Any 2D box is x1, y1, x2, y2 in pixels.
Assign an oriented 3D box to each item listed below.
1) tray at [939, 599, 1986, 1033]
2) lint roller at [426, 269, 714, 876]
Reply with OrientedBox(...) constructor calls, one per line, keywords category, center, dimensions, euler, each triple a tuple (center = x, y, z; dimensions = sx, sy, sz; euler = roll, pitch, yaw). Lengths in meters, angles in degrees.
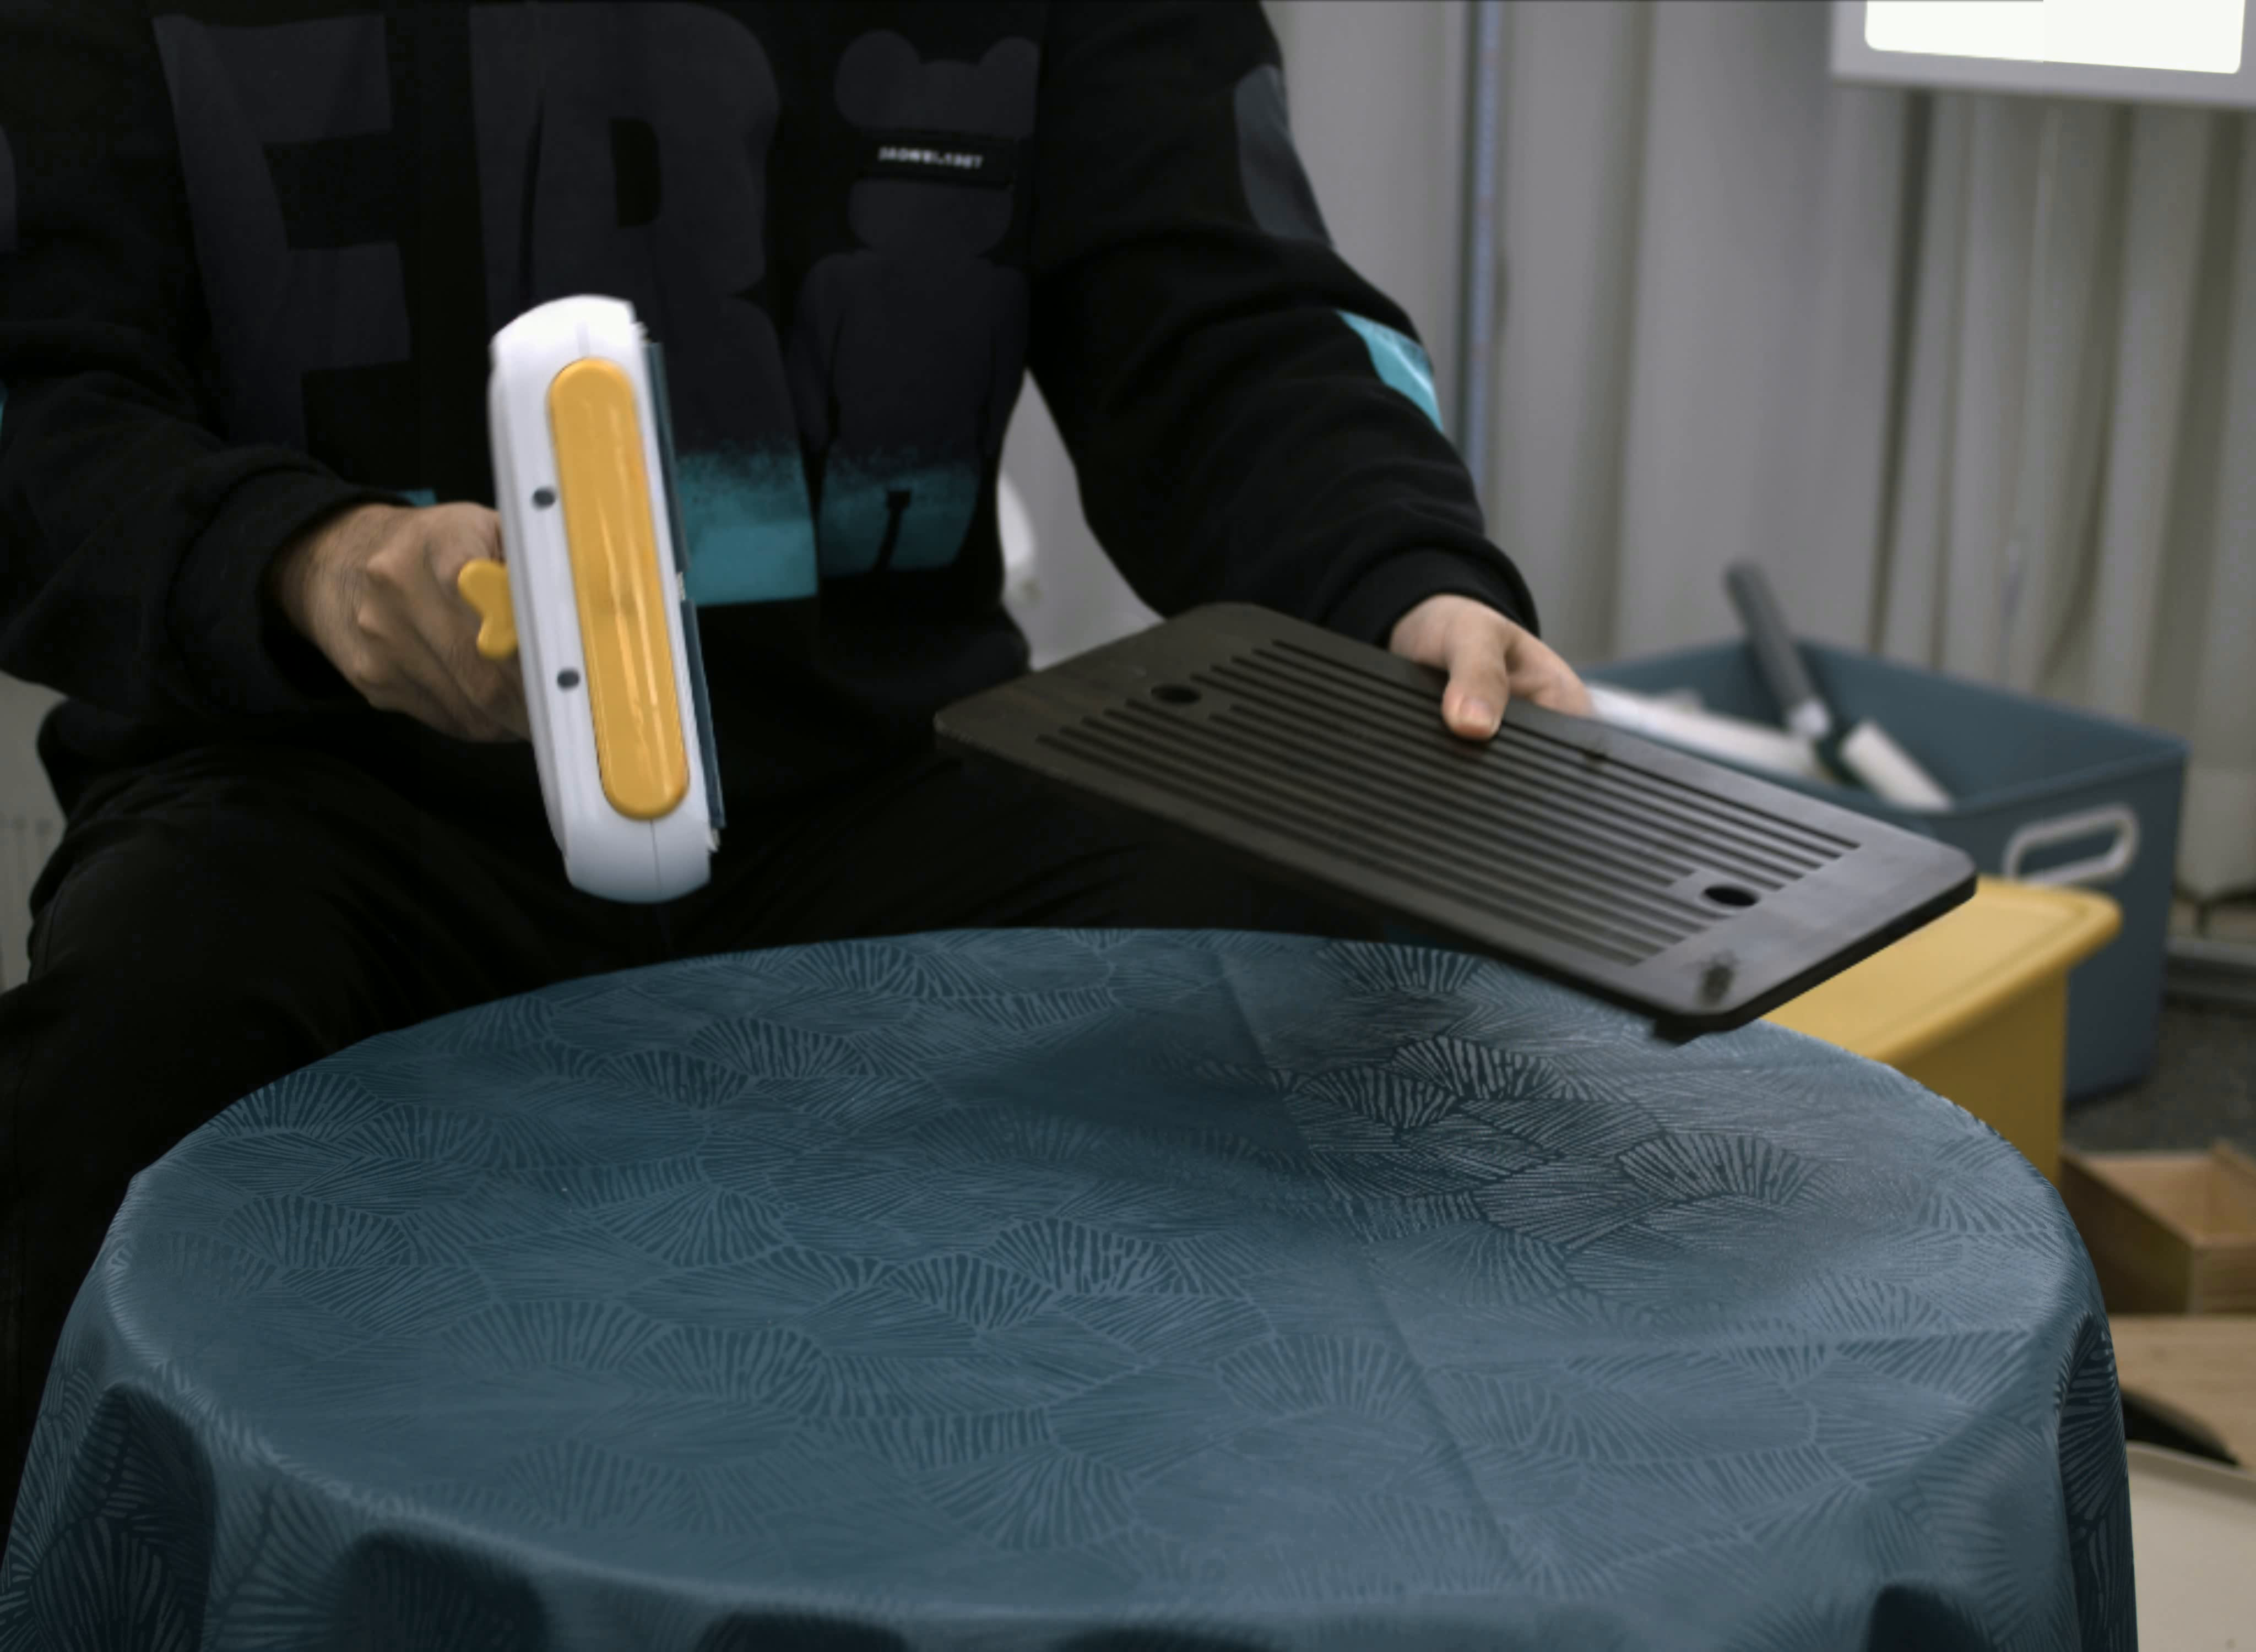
OrientedBox(category="tray", center=(0.104, -0.007, 1.678), dimensions=(0.302, 0.019, 0.171), euler=(21, 27, 31))
OrientedBox(category="lint roller", center=(-0.188, -0.069, 1.716), dimensions=(0.074, 0.193, 0.192), euler=(-11, -6, -17))
